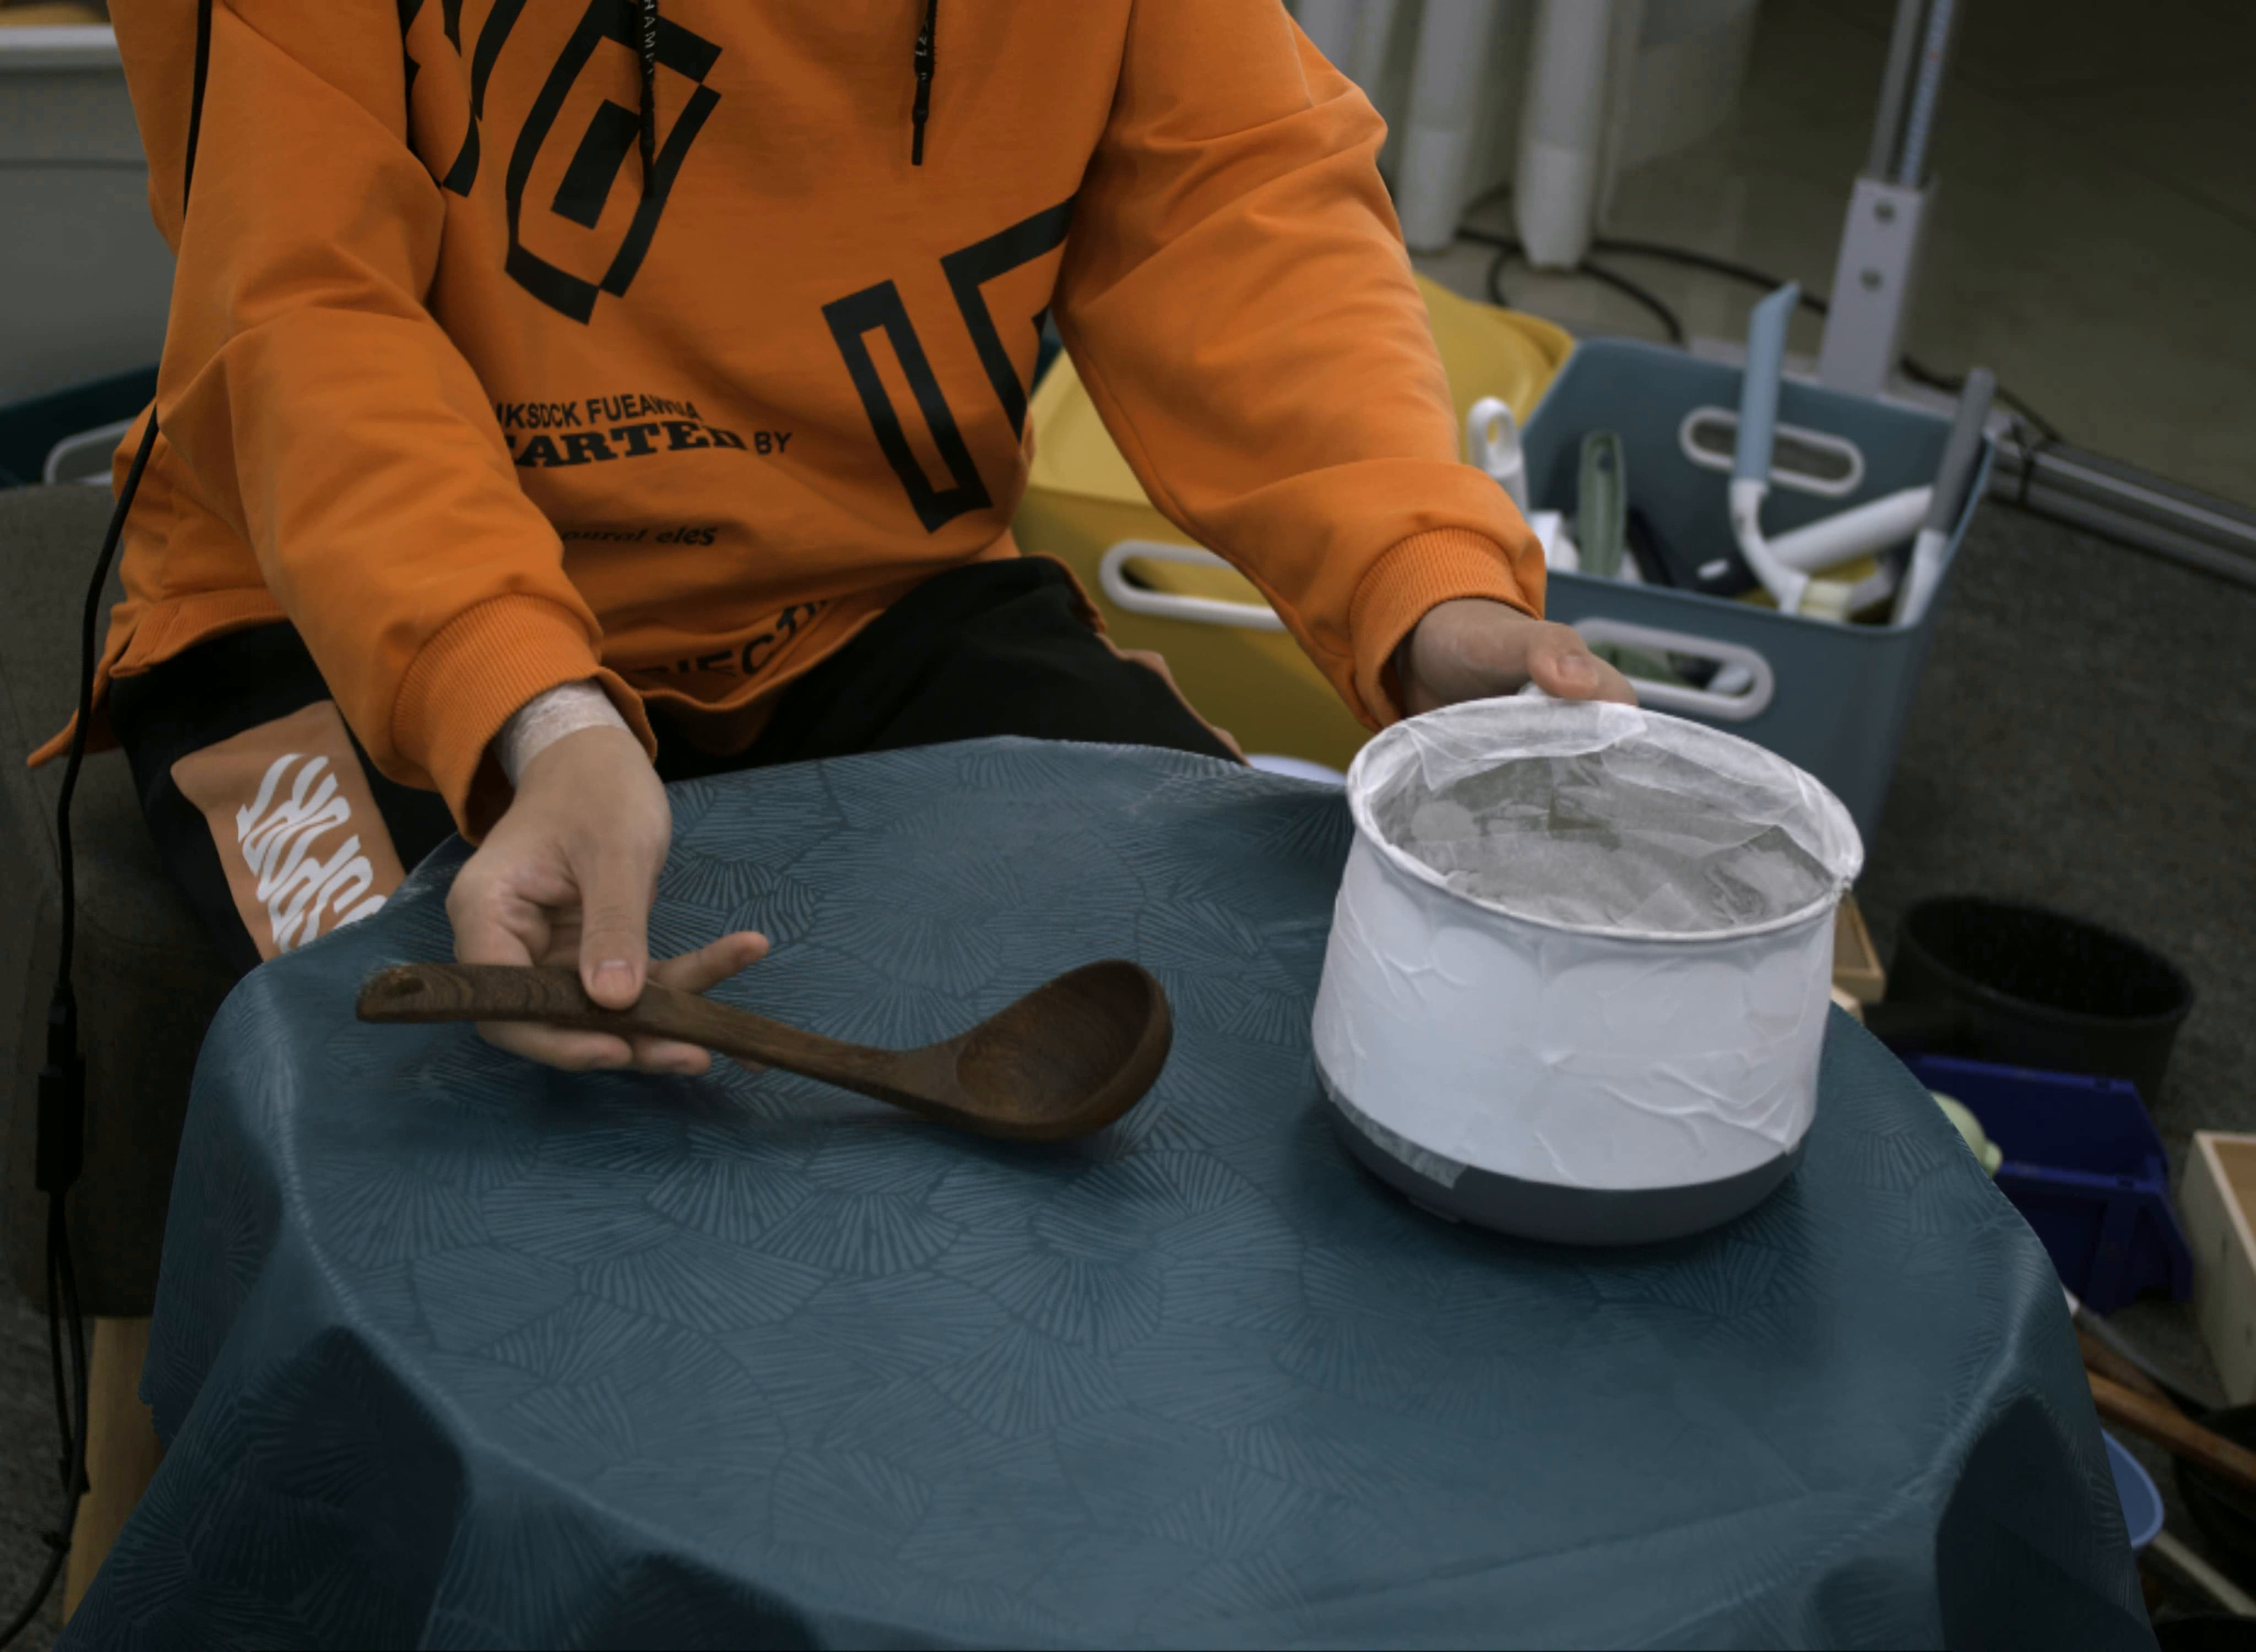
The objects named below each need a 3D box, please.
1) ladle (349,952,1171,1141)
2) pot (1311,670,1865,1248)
[{"bbox_3d":[-0.122,0.056,1.797,0.272,0.071,0.076,11,31,-13],"label":"ladle"},{"bbox_3d":[0.151,0.039,1.851,0.178,0.136,0.235,3,27,-9],"label":"pot"}]
